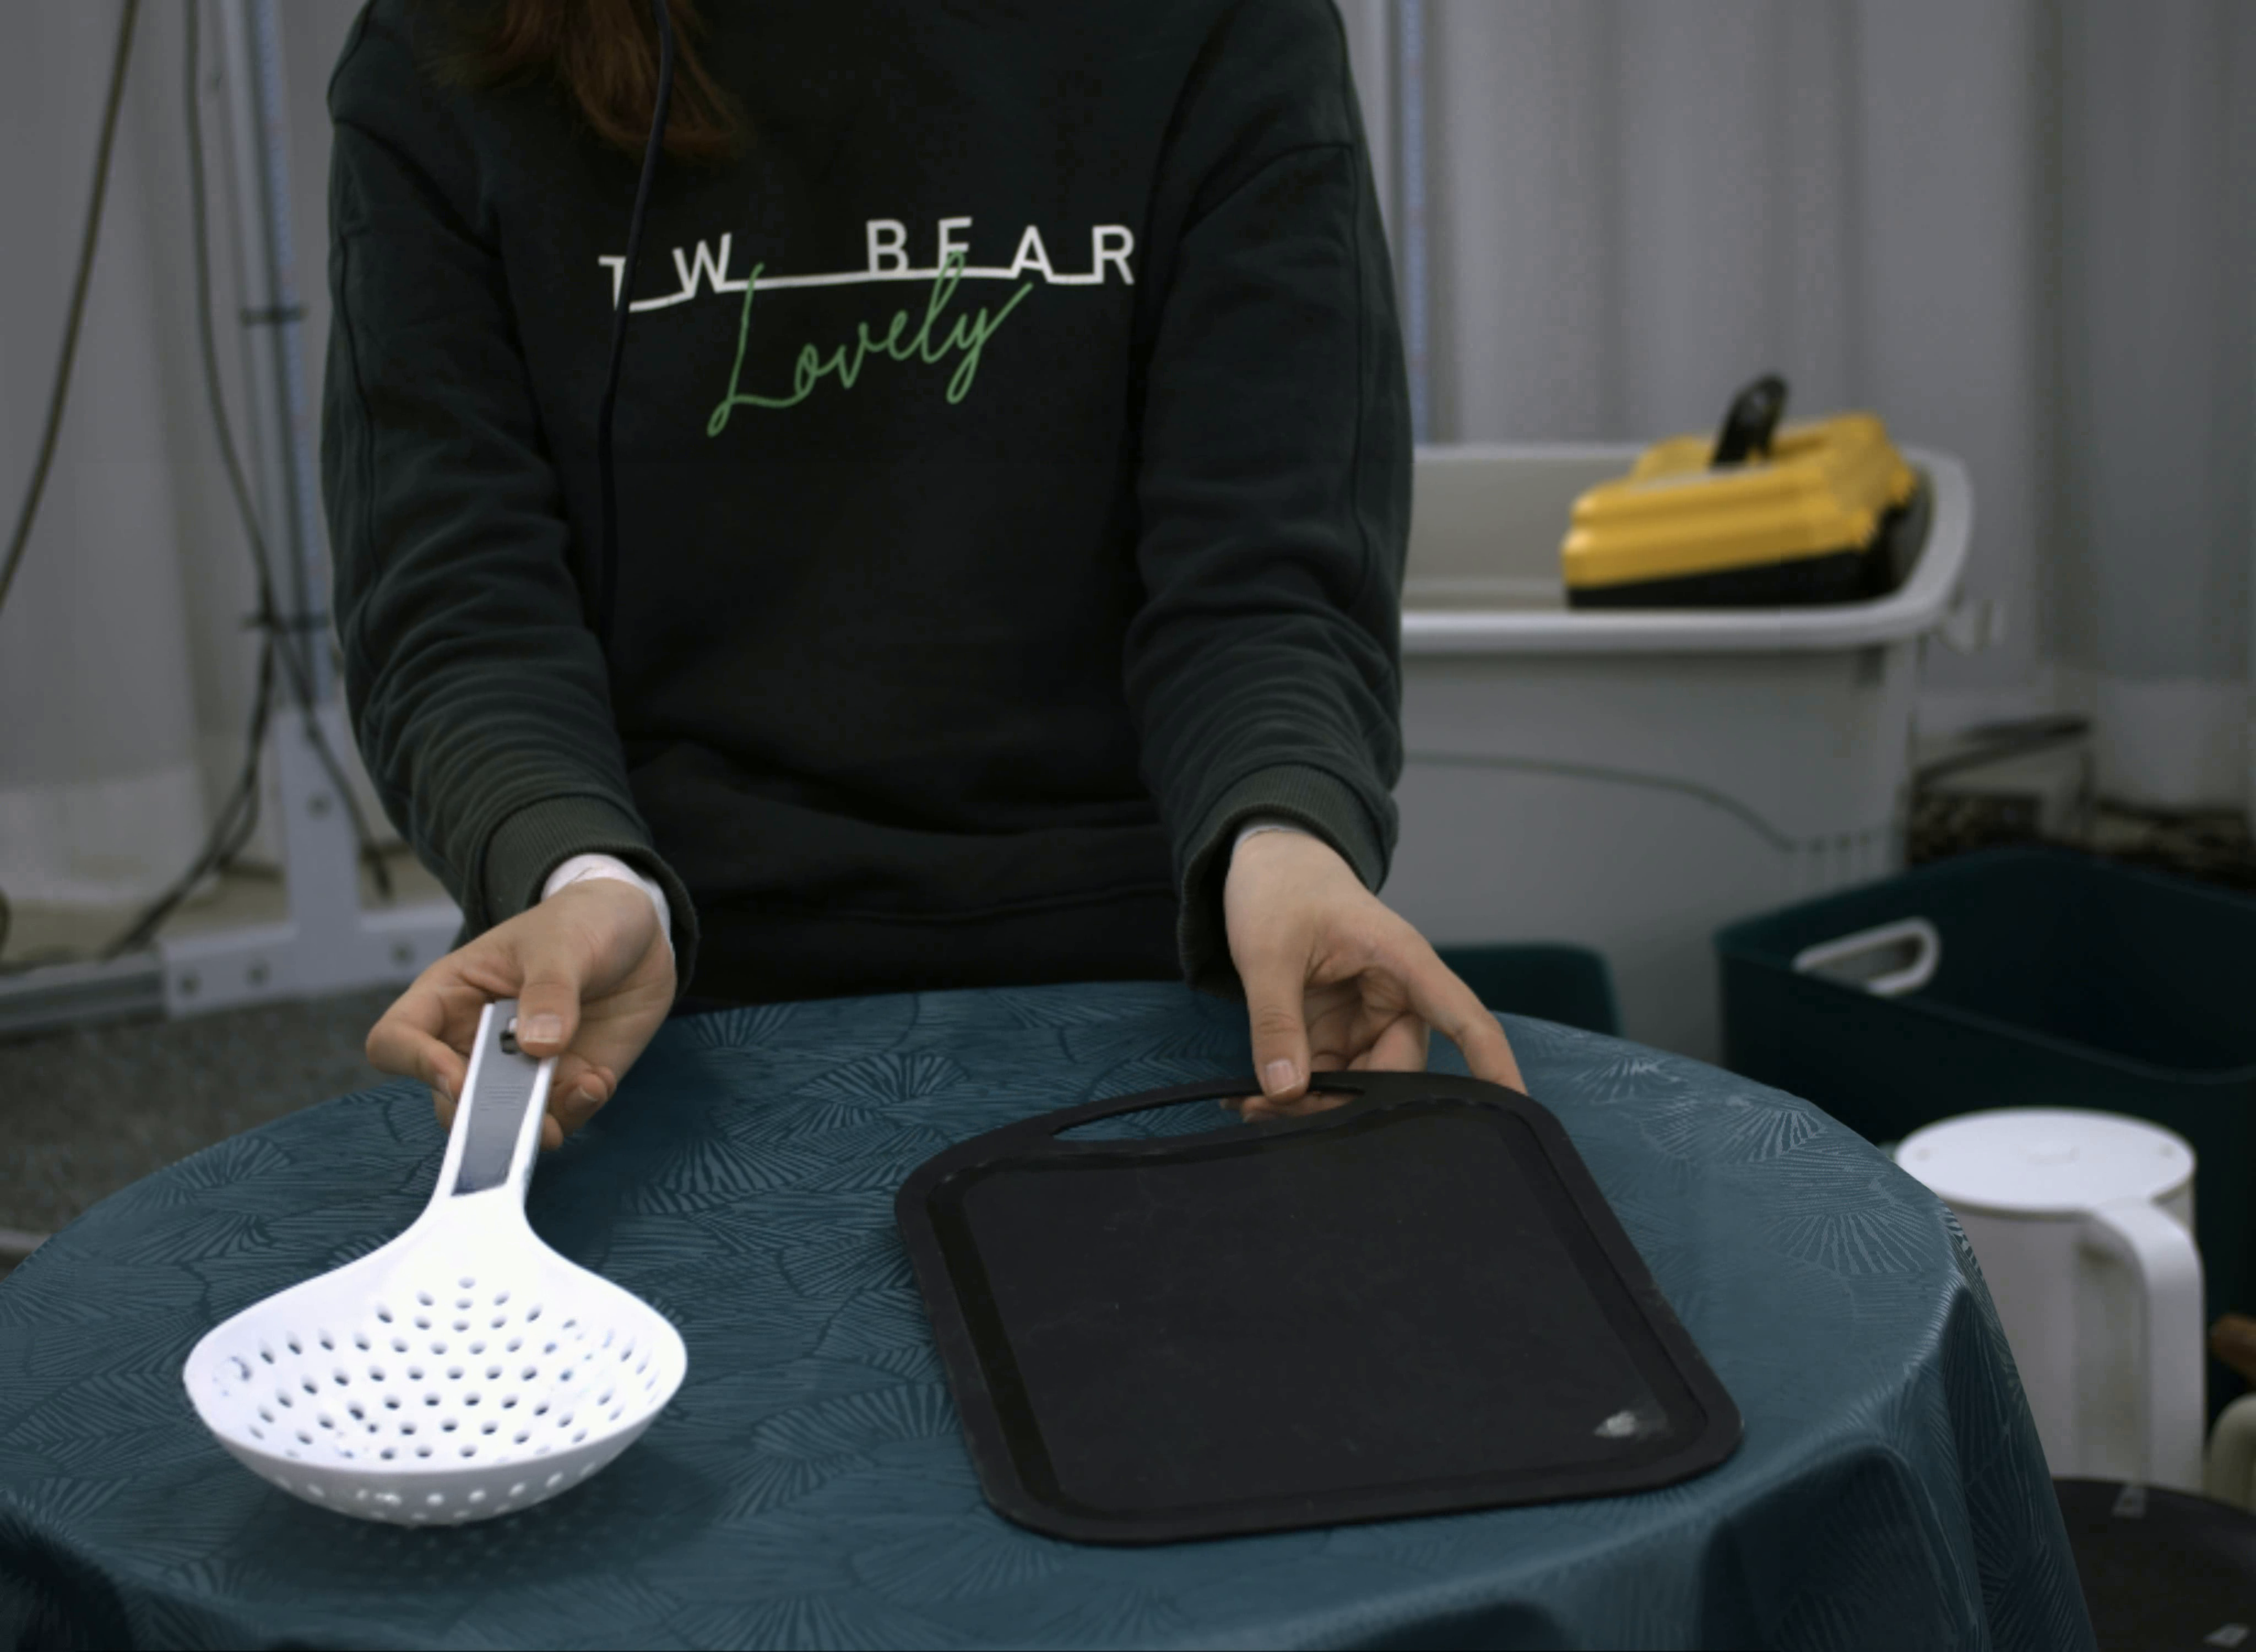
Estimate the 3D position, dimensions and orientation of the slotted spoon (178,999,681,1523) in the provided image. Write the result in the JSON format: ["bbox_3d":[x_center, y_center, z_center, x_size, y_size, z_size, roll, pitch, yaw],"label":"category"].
[{"bbox_3d":[-0.190,0.118,1.585,0.135,0.045,0.353,1,23,-1],"label":"slotted spoon"}]

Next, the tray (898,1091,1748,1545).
[{"bbox_3d":[0.047,0.134,1.592,0.210,0.010,0.328,-5,18,-7],"label":"tray"}]
